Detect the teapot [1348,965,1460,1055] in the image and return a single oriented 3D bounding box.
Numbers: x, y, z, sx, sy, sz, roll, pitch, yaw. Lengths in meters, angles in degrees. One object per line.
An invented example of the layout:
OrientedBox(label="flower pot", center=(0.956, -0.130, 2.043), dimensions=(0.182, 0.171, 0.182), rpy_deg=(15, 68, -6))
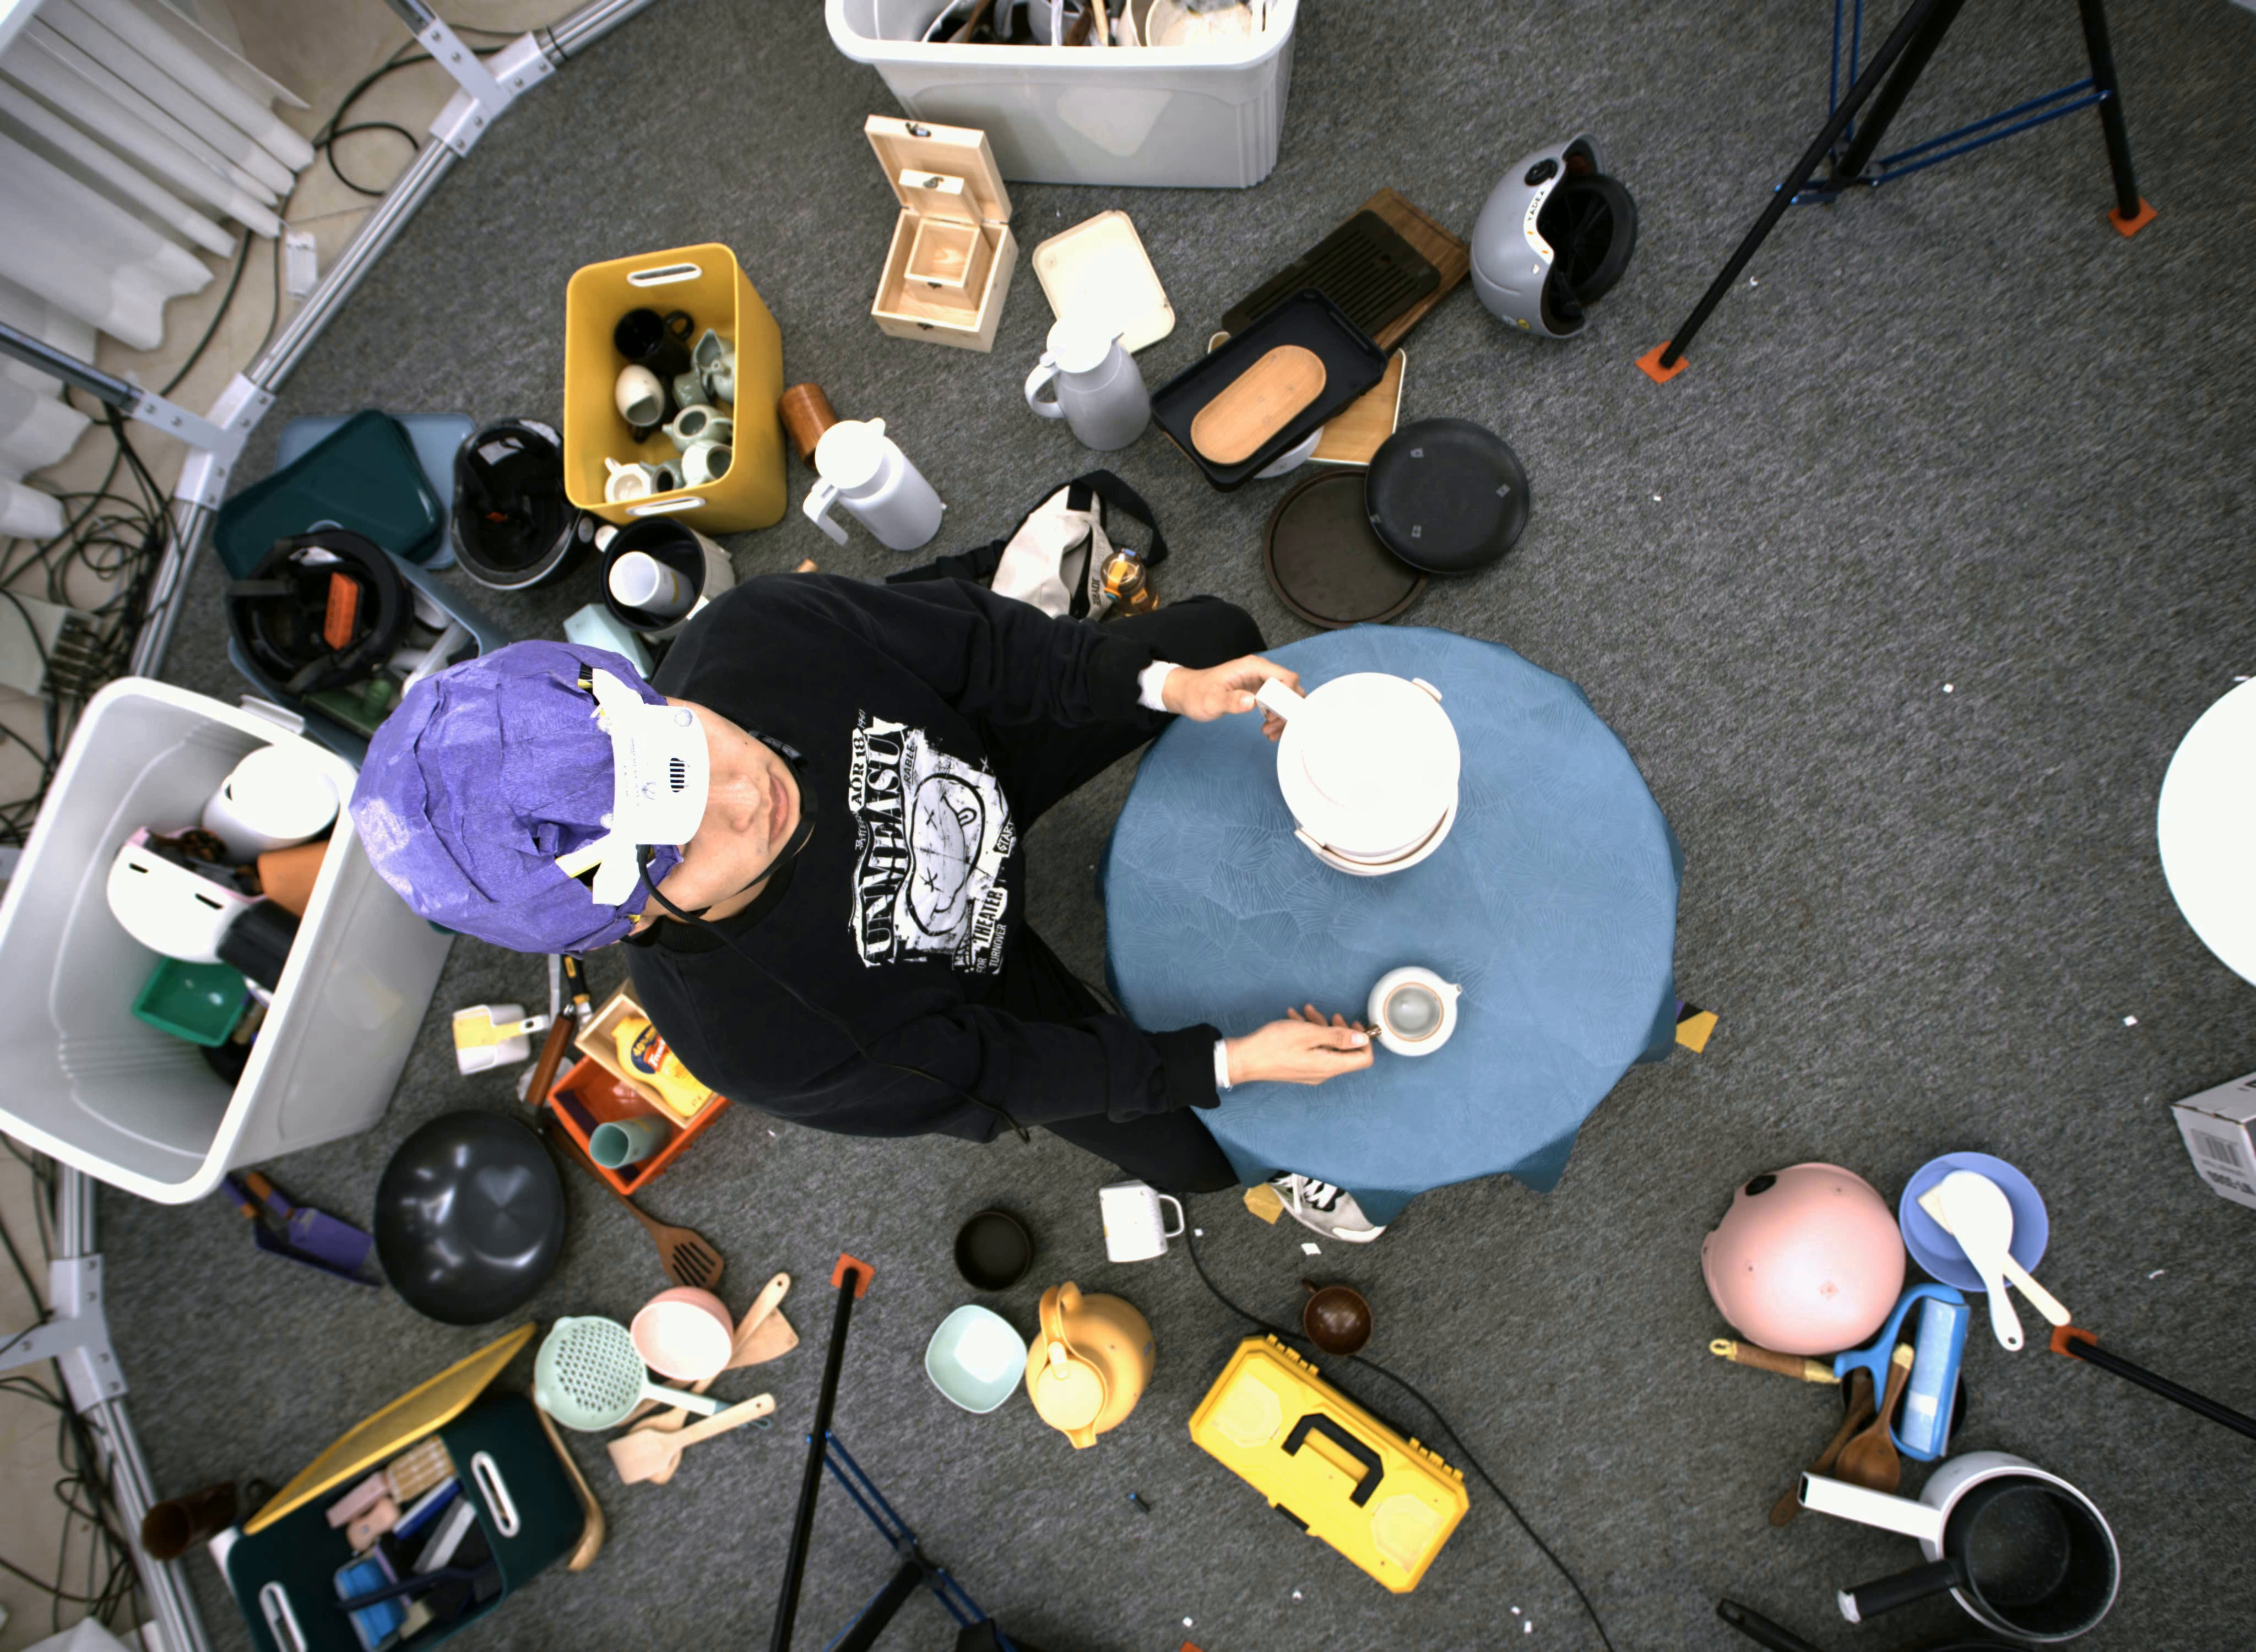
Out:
OrientedBox(label="teapot", center=(0.283, 0.193, 1.423), dimensions=(0.128, 0.059, 0.091), rpy_deg=(-30, 84, 6))

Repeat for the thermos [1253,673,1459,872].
OrientedBox(label="thermos", center=(0.211, -0.057, 1.278), dimensions=(0.206, 0.406, 0.176), rpy_deg=(37, 93, 11))
